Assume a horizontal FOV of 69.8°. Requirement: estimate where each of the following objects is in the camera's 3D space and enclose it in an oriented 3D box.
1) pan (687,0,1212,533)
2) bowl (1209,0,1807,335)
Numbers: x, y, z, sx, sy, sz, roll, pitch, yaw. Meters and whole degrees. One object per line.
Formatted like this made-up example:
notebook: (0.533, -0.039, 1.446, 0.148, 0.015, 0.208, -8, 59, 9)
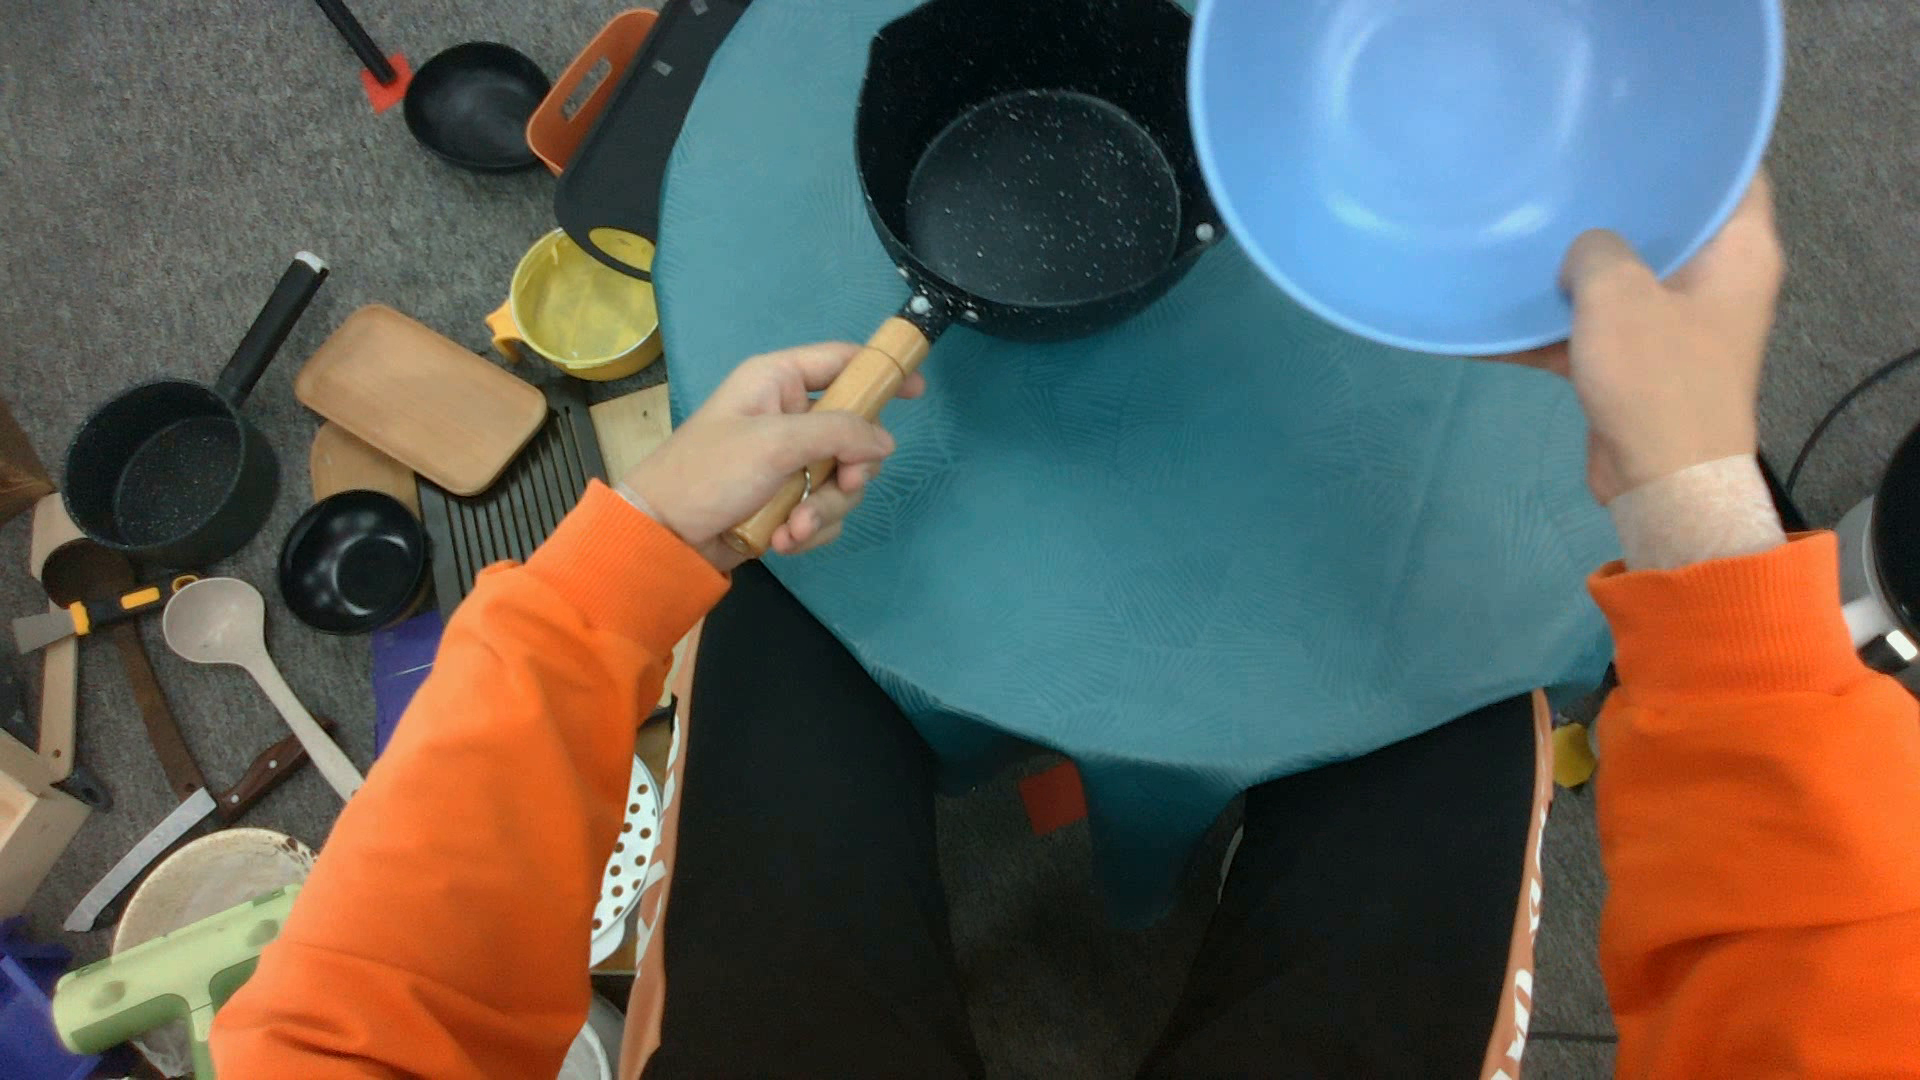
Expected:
pan: (-0.015, -0.134, 0.662, 0.207, 0.108, 0.343, 31, 77, 7)
bowl: (0.202, -0.183, 0.526, 0.196, 0.096, 0.196, 7, 109, 21)
